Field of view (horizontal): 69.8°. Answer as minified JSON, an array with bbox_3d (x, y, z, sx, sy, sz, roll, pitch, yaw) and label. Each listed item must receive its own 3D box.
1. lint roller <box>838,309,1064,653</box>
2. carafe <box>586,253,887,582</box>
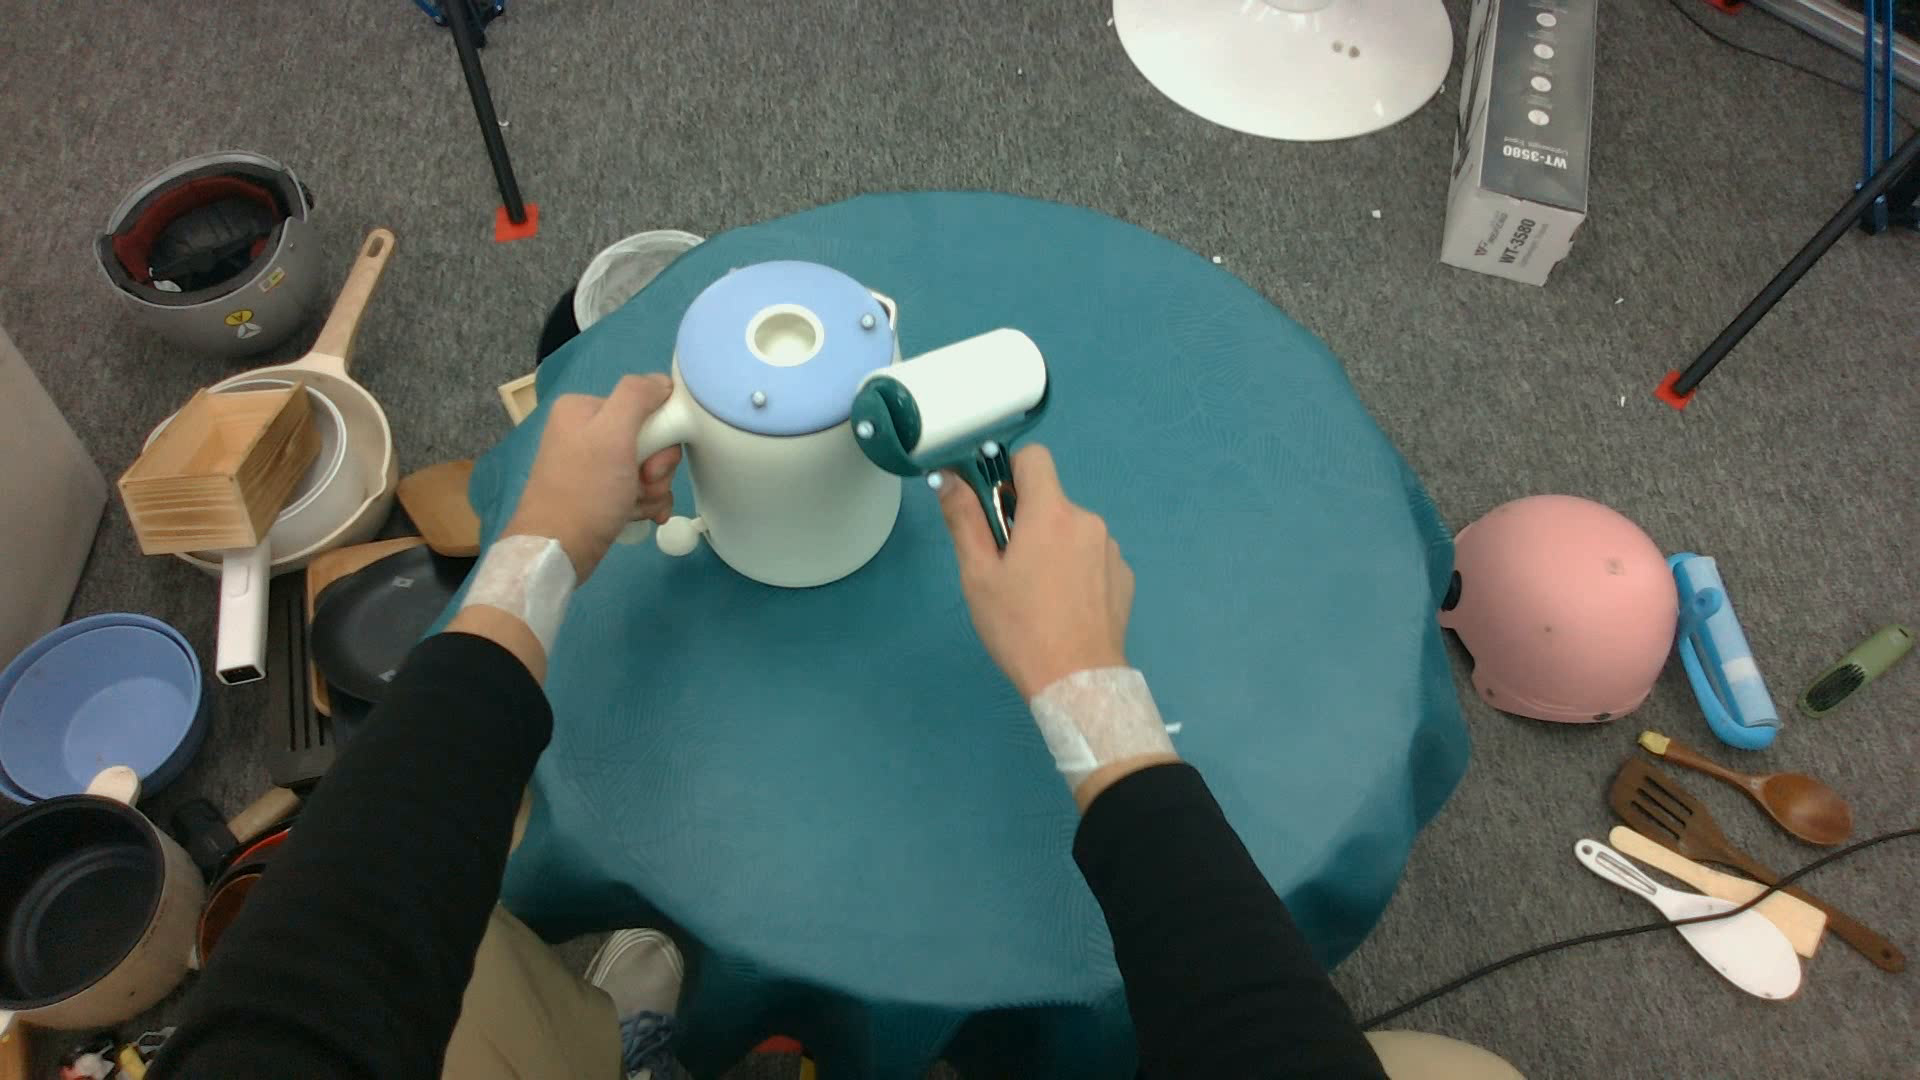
[{"bbox_3d":[0.020,-0.027,0.712,0.135,0.048,0.180,-28,89,-45],"label":"lint roller"},{"bbox_3d":[-0.130,-0.059,0.812,0.191,0.182,0.132,-27,64,-16],"label":"carafe"}]
